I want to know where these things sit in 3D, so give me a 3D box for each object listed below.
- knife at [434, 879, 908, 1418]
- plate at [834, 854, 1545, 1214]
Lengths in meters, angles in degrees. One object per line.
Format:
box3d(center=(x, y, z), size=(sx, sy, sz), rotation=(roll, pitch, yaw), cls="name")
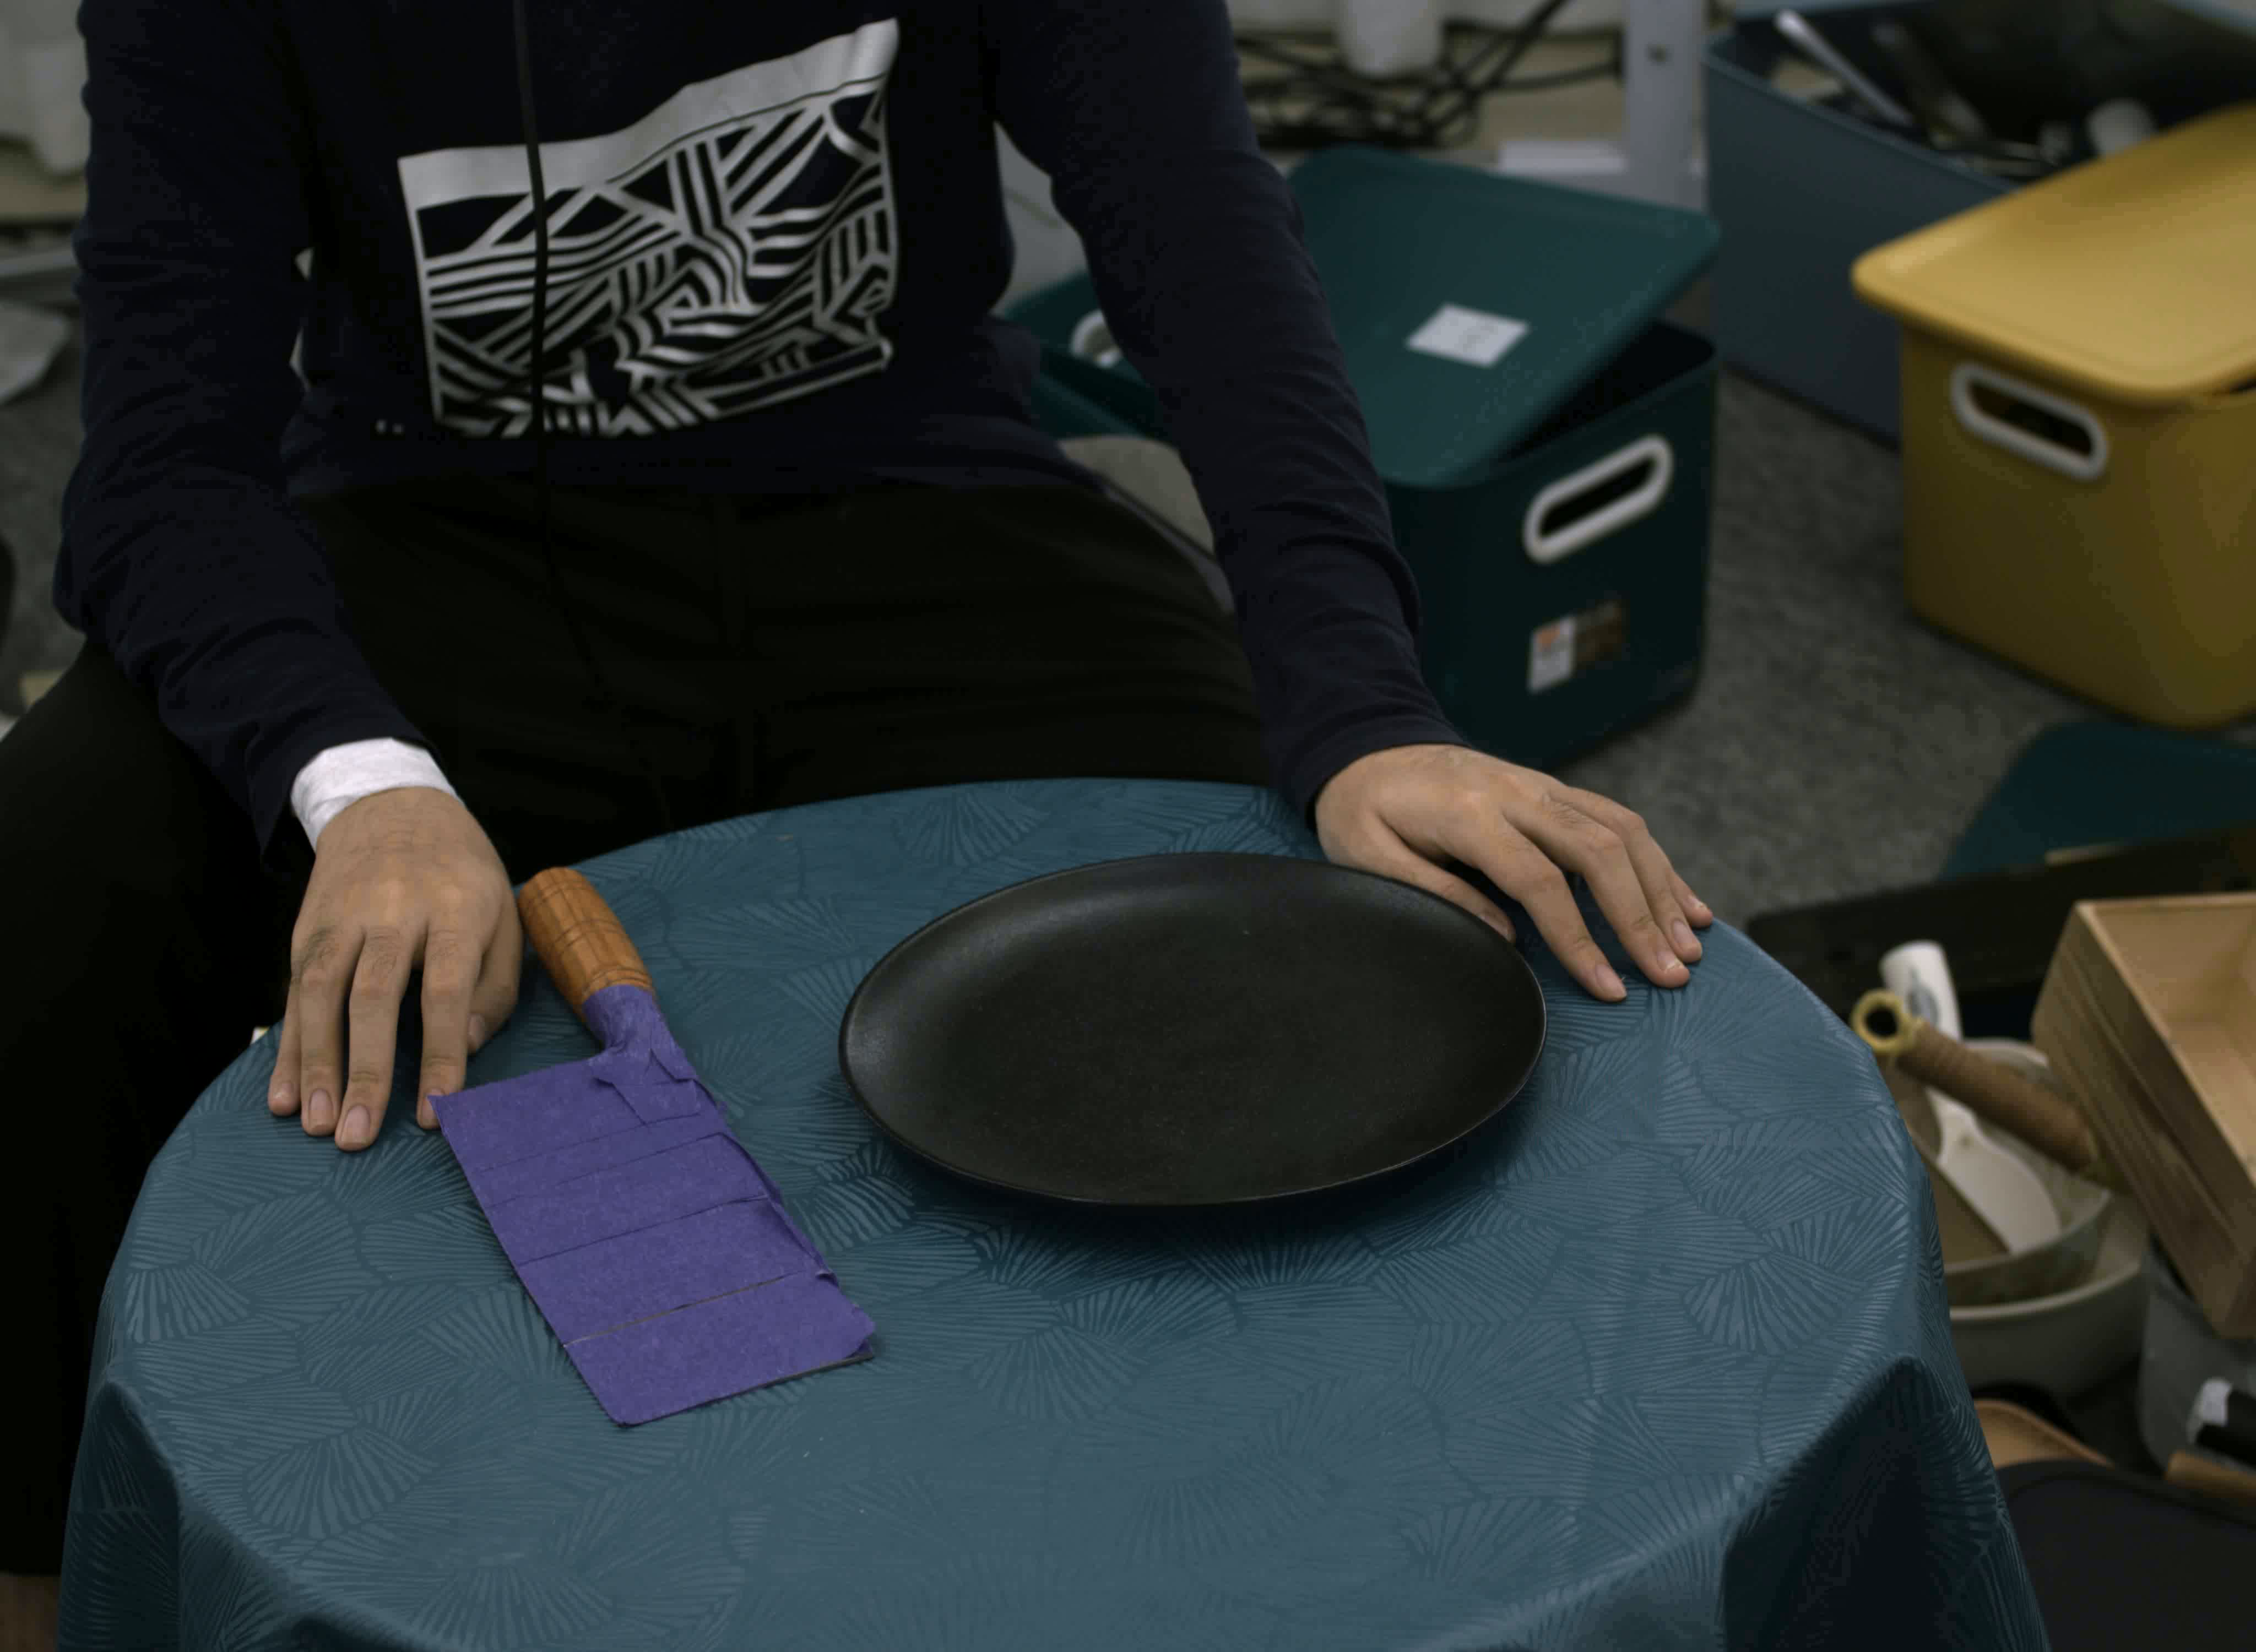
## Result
box3d(center=(-0.177, 0.104, 1.884), size=(0.104, 0.032, 0.317), rotation=(-13, 29, -20), cls="knife")
box3d(center=(0.021, 0.075, 1.925), size=(0.243, 0.023, 0.248), rotation=(-2, 27, 1), cls="plate")
